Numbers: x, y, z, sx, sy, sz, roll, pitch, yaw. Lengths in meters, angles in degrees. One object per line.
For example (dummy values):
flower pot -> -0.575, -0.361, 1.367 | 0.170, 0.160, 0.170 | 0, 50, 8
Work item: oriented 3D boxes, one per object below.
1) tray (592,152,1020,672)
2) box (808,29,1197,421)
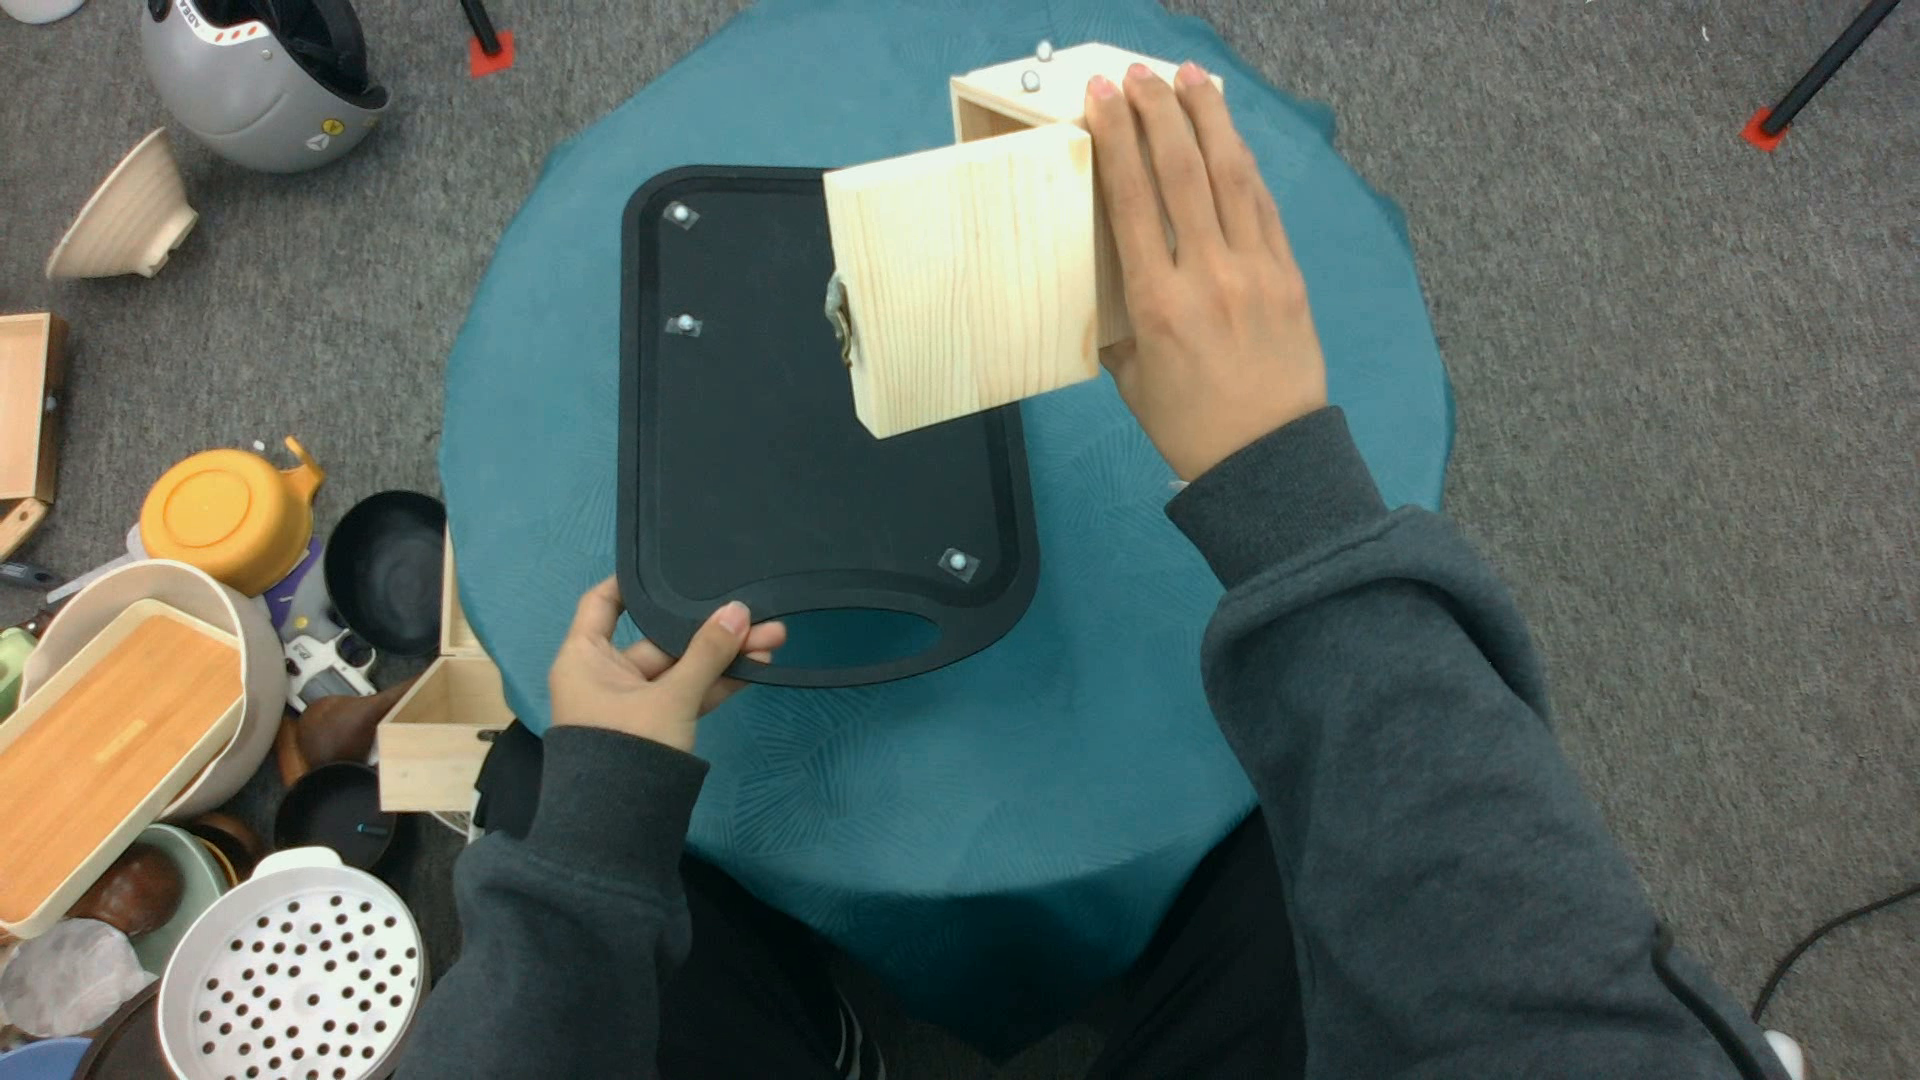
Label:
tray -> -0.082, -0.082, 0.722 | 0.211, 0.010, 0.326 | -2, 61, -10
box -> 0.004, -0.143, 0.594 | 0.185, 0.102, 0.134 | -20, 35, -23
